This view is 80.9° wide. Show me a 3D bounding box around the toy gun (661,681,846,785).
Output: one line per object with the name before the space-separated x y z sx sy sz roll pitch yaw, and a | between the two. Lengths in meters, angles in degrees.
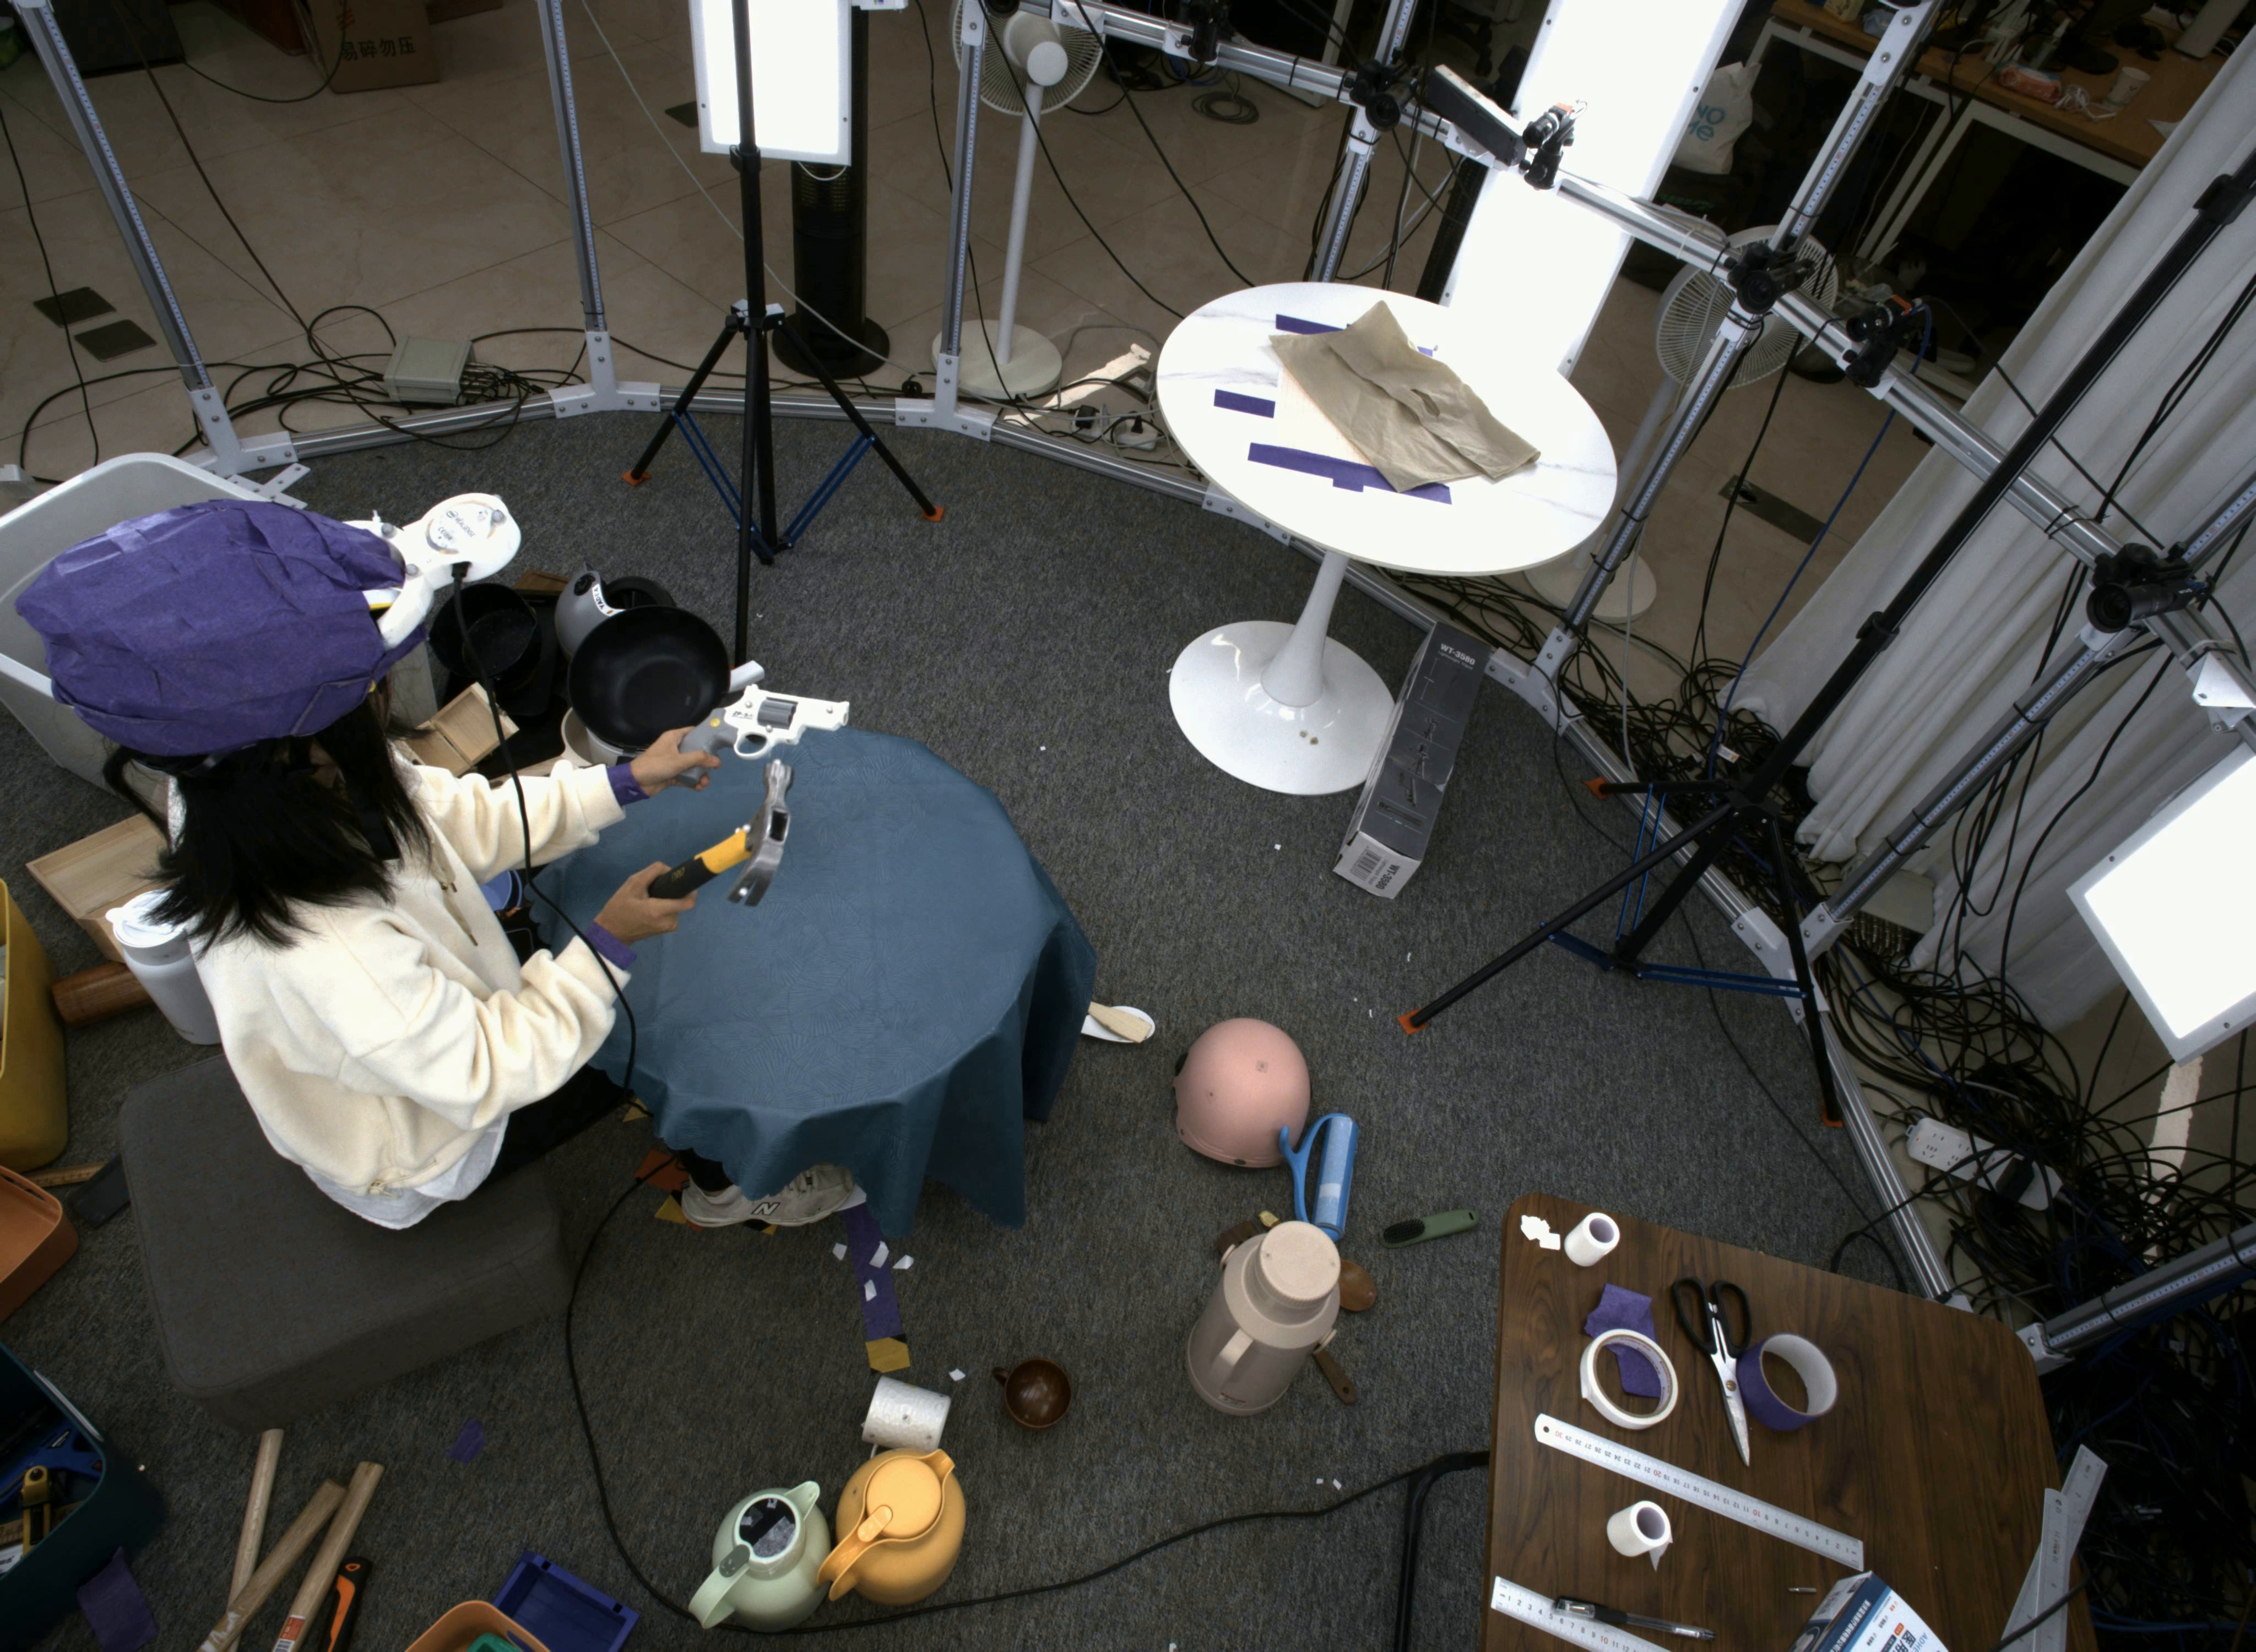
toy gun | -0.460 -0.112 1.587 0.205 0.040 0.140 7 64 5

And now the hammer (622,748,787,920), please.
hammer | -0.446 0.035 1.326 0.033 0.332 0.130 16 62 -41
